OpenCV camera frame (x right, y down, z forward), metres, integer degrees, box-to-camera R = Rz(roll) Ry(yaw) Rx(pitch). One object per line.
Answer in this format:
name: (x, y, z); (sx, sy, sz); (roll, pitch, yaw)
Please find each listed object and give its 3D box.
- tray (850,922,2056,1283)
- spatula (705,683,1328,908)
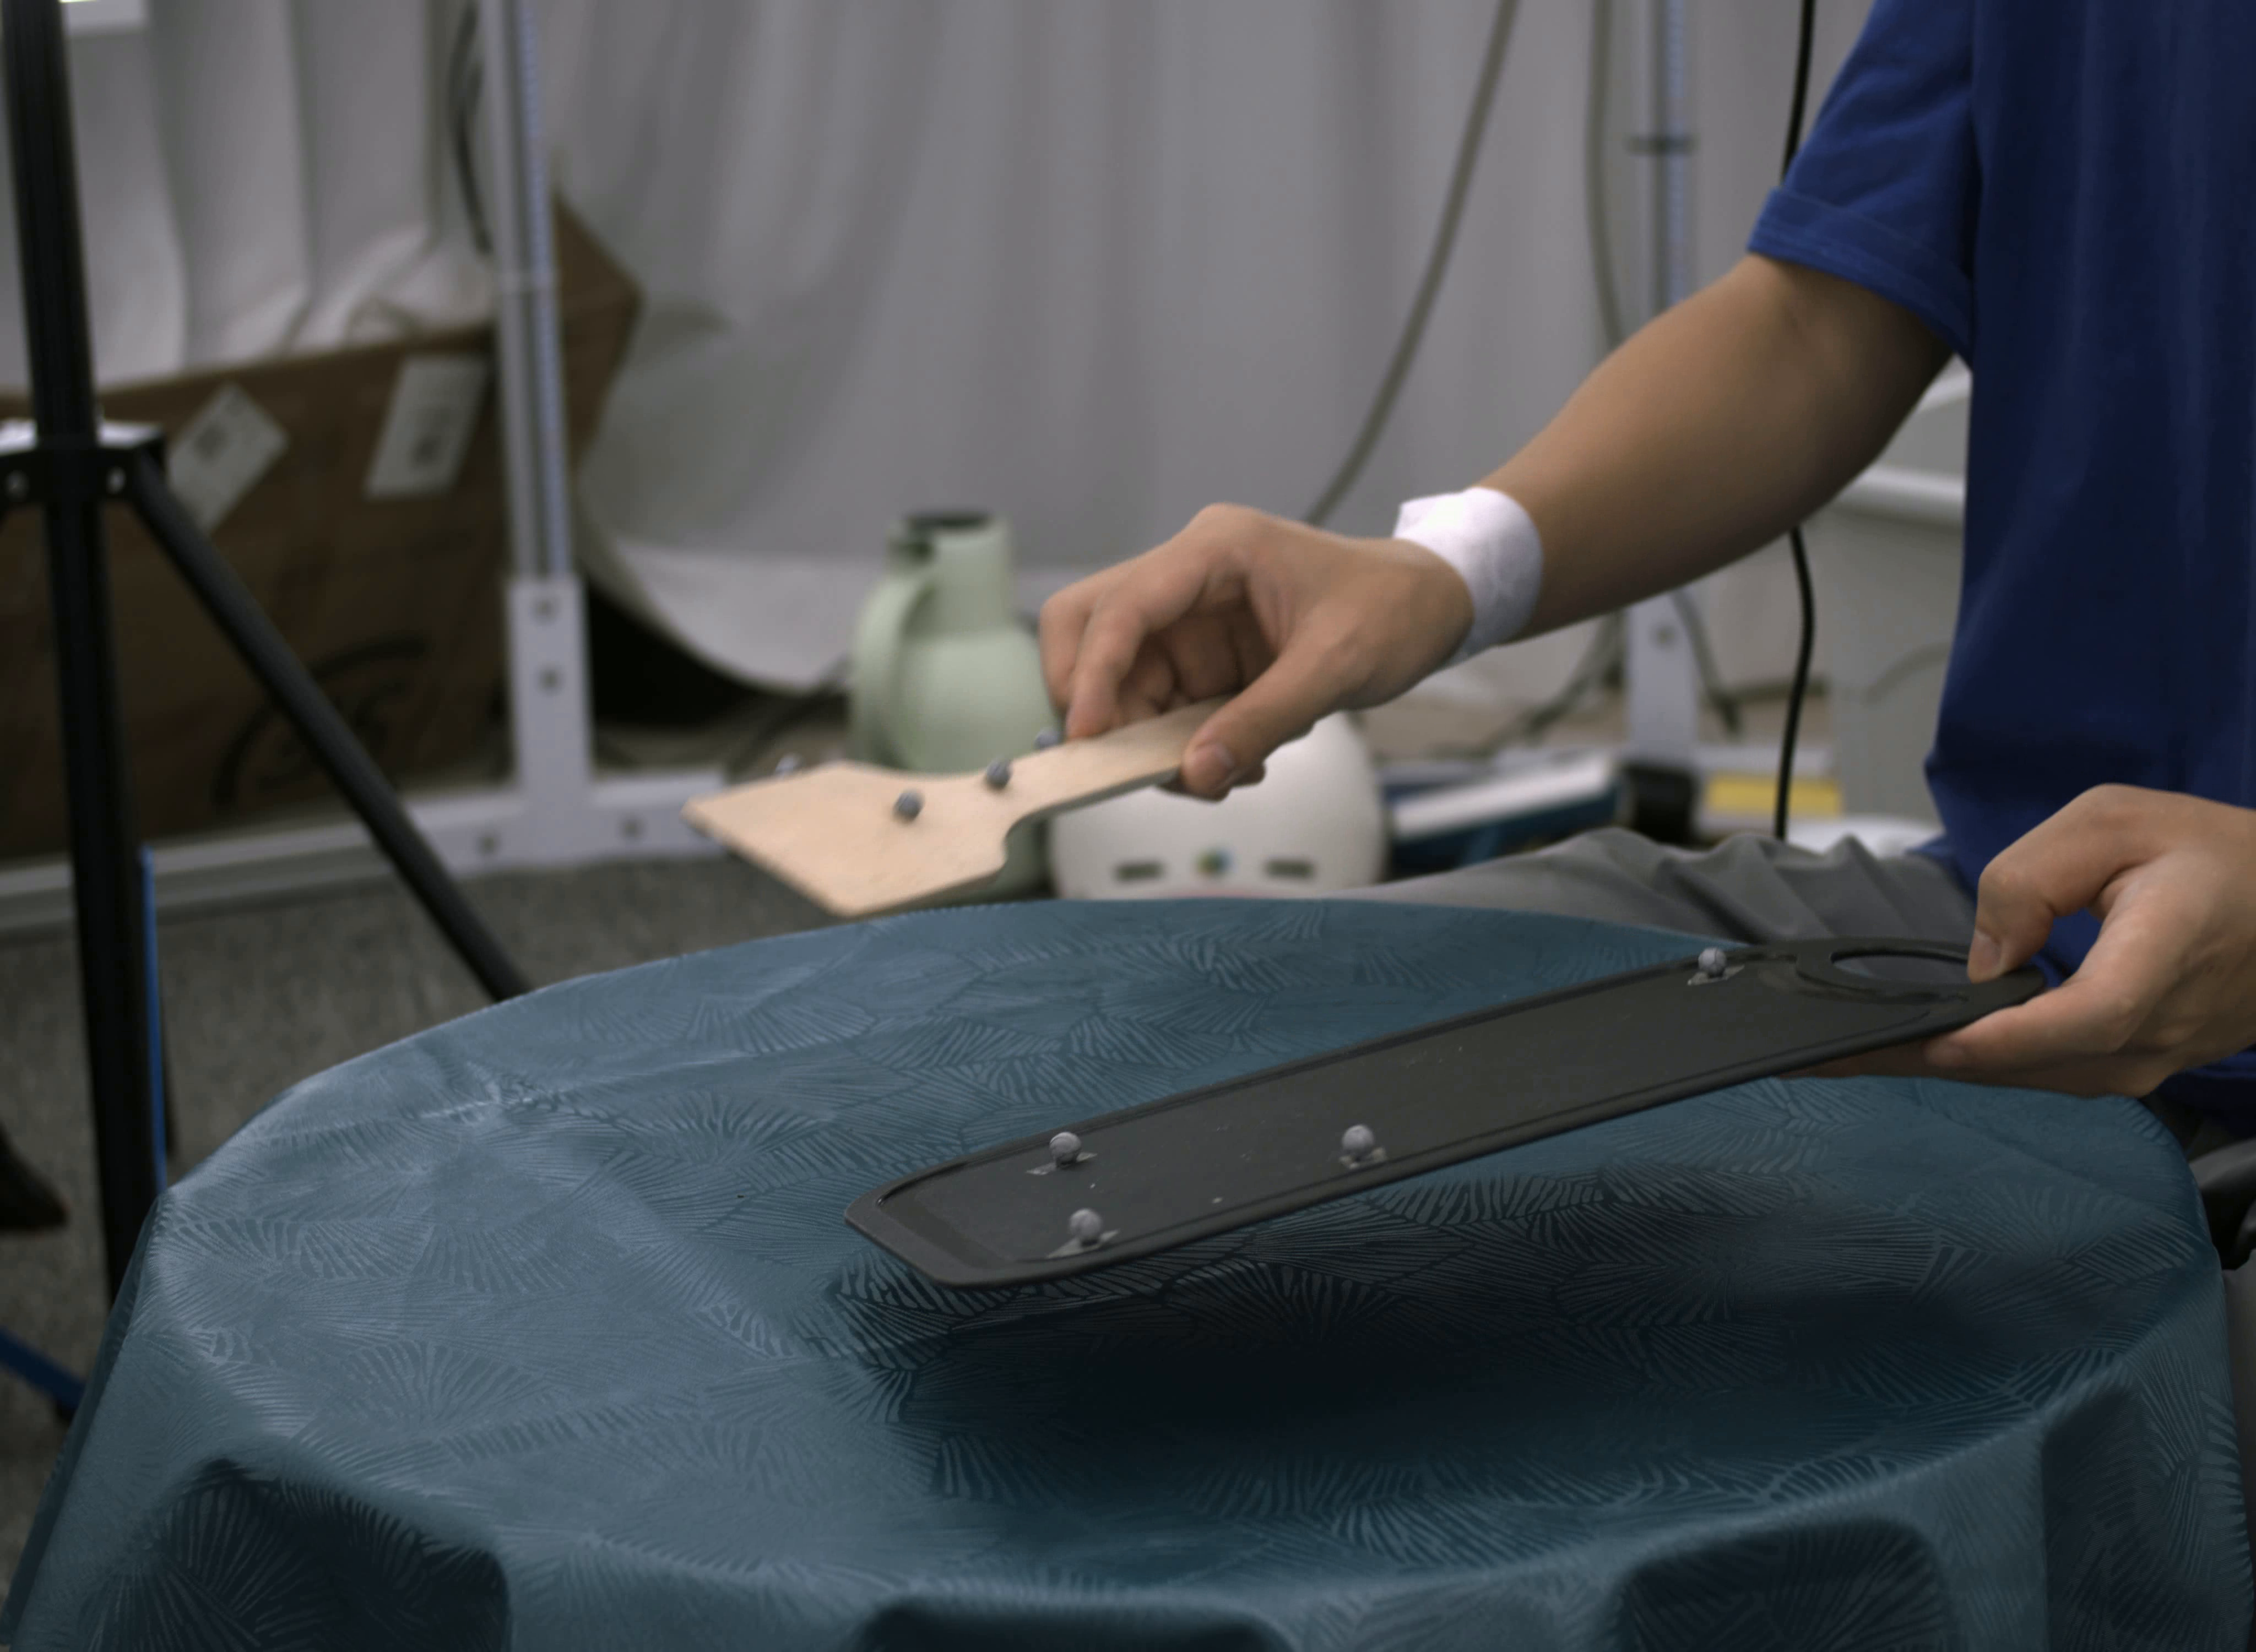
tray: (0.090, 0.069, 1.437); (0.321, 0.010, 0.213); (-15, 6, -10)
spatula: (-0.022, -0.017, 1.683); (0.073, 0.011, 0.287); (31, 26, 27)
